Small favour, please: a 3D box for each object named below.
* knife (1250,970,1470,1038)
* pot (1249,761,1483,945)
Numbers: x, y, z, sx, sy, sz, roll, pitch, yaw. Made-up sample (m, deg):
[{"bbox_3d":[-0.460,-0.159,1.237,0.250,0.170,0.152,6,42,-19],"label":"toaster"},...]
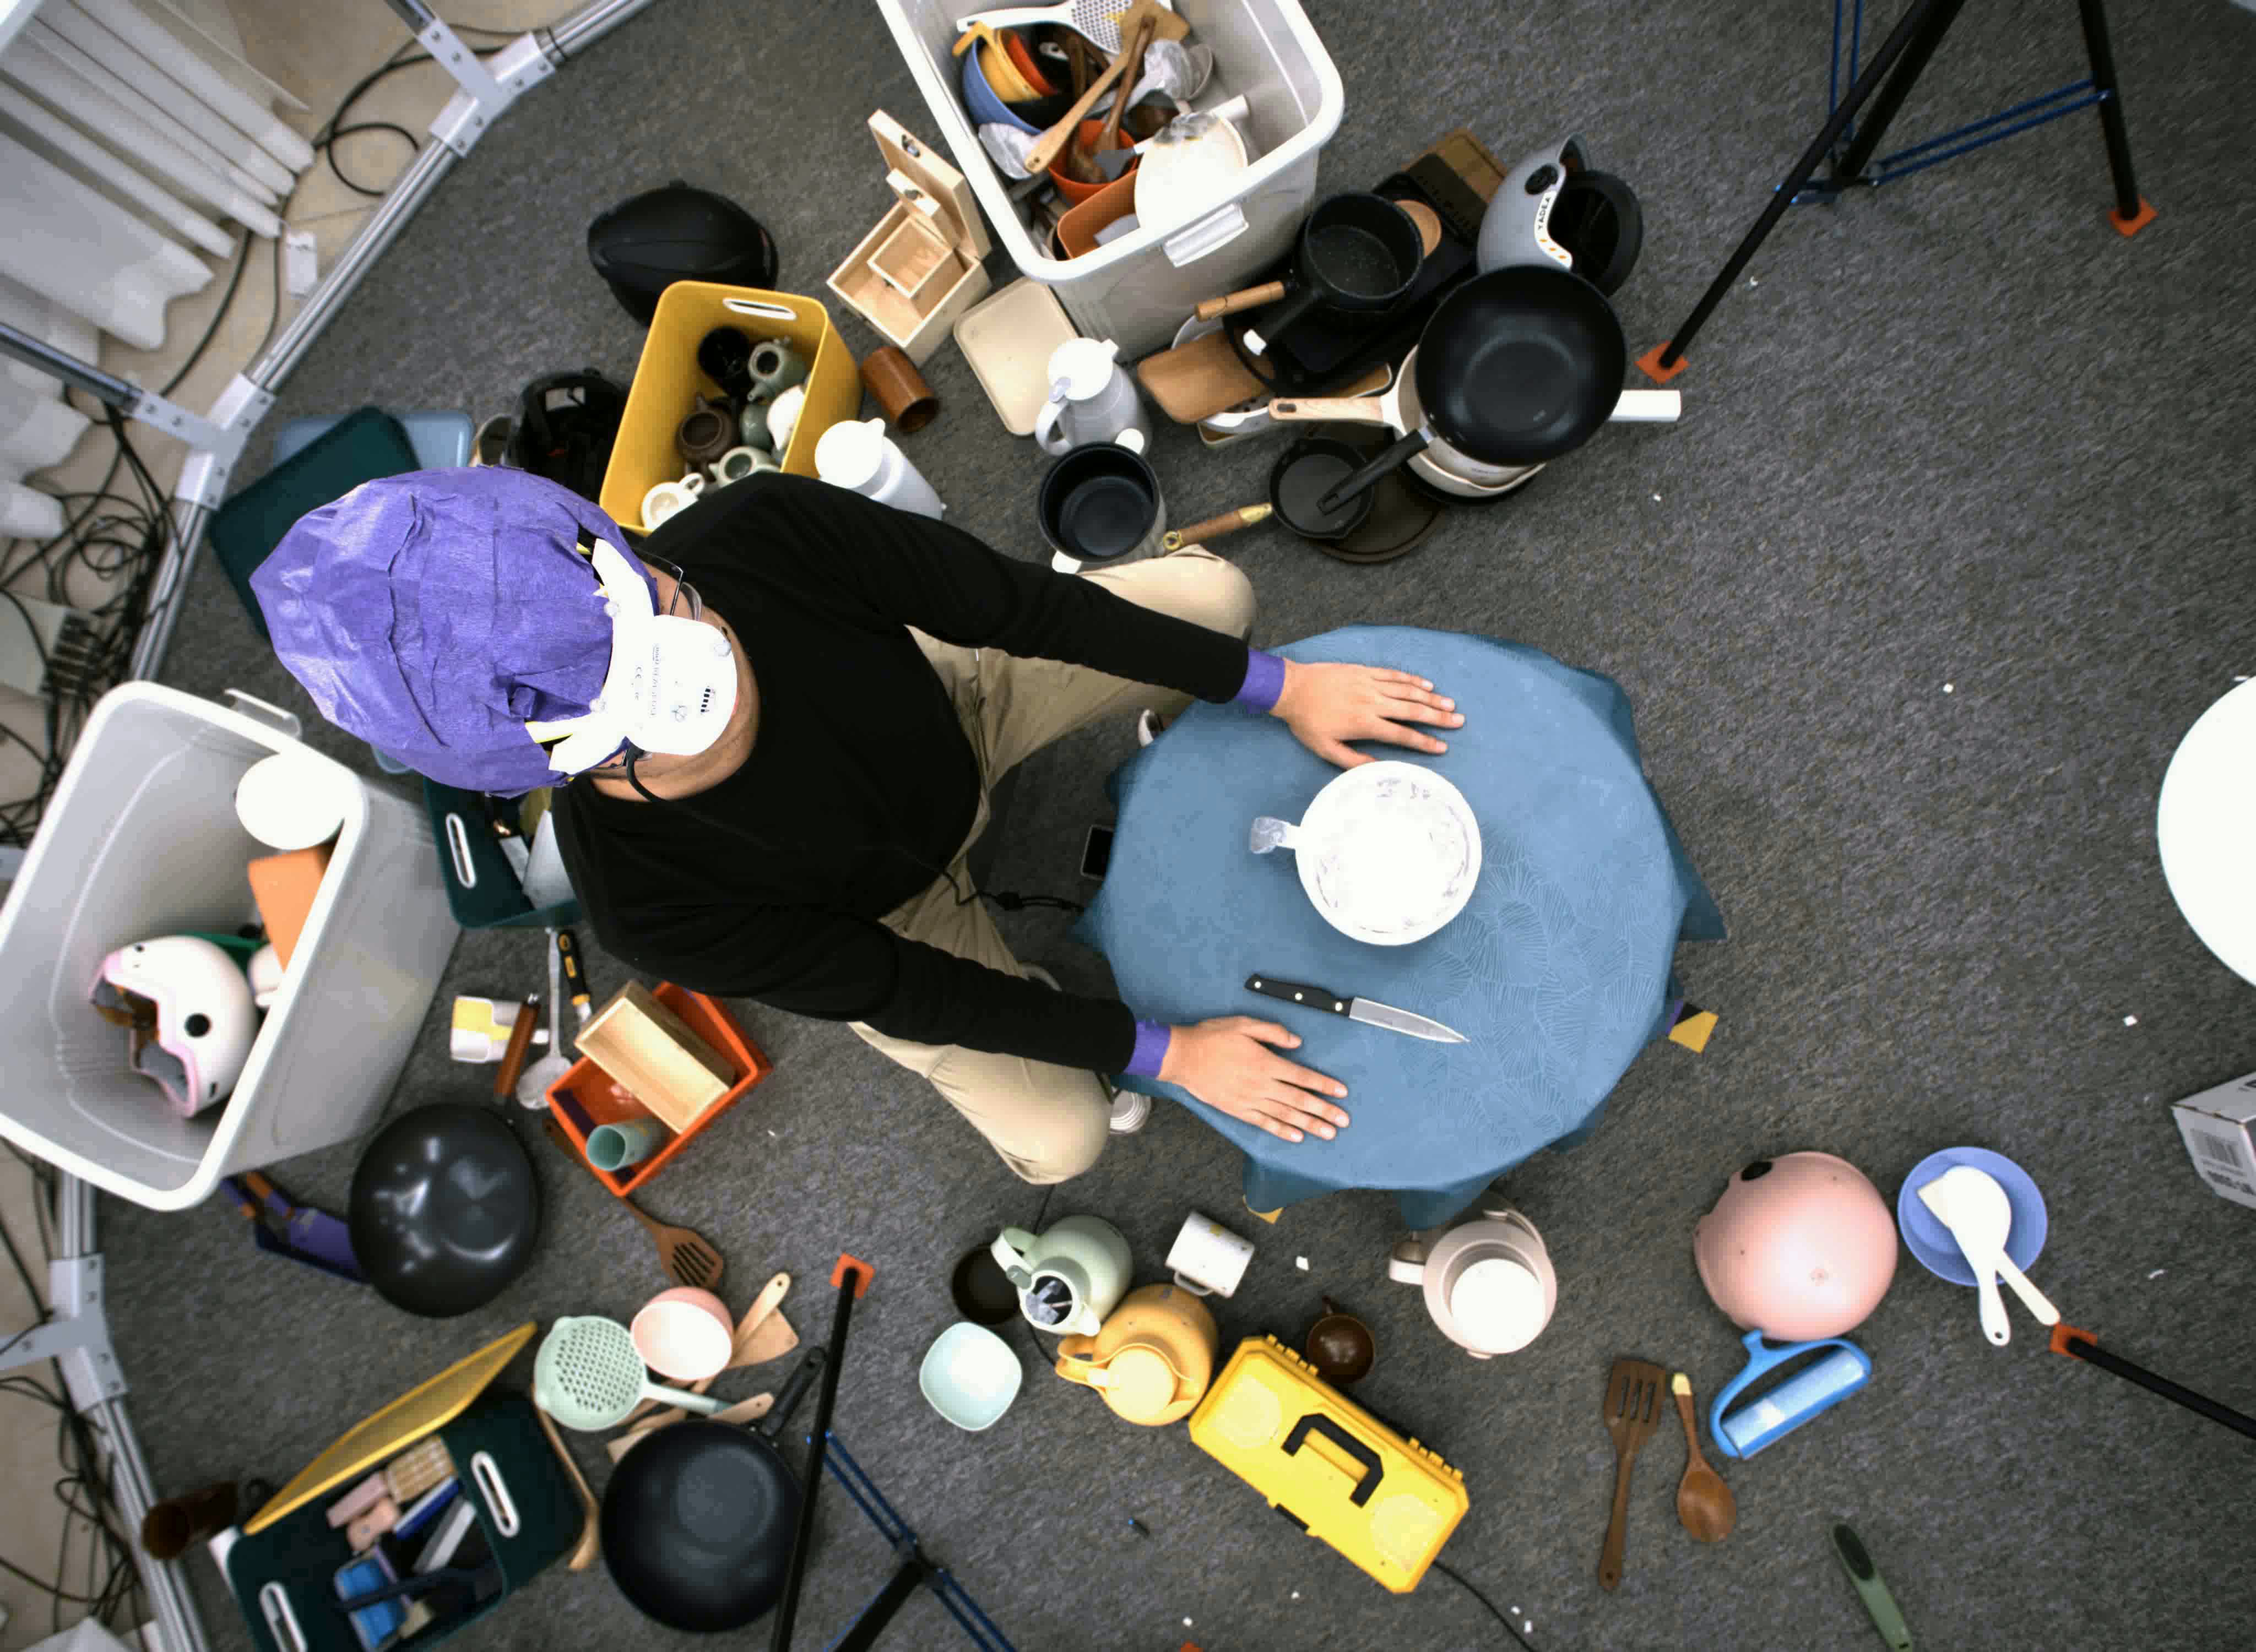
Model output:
[{"bbox_3d":[0.242,0.191,1.455,0.238,0.016,0.024,14,89,8],"label":"knife"},{"bbox_3d":[0.235,0.026,1.398,0.234,0.137,0.178,10,87,10],"label":"pot"}]
